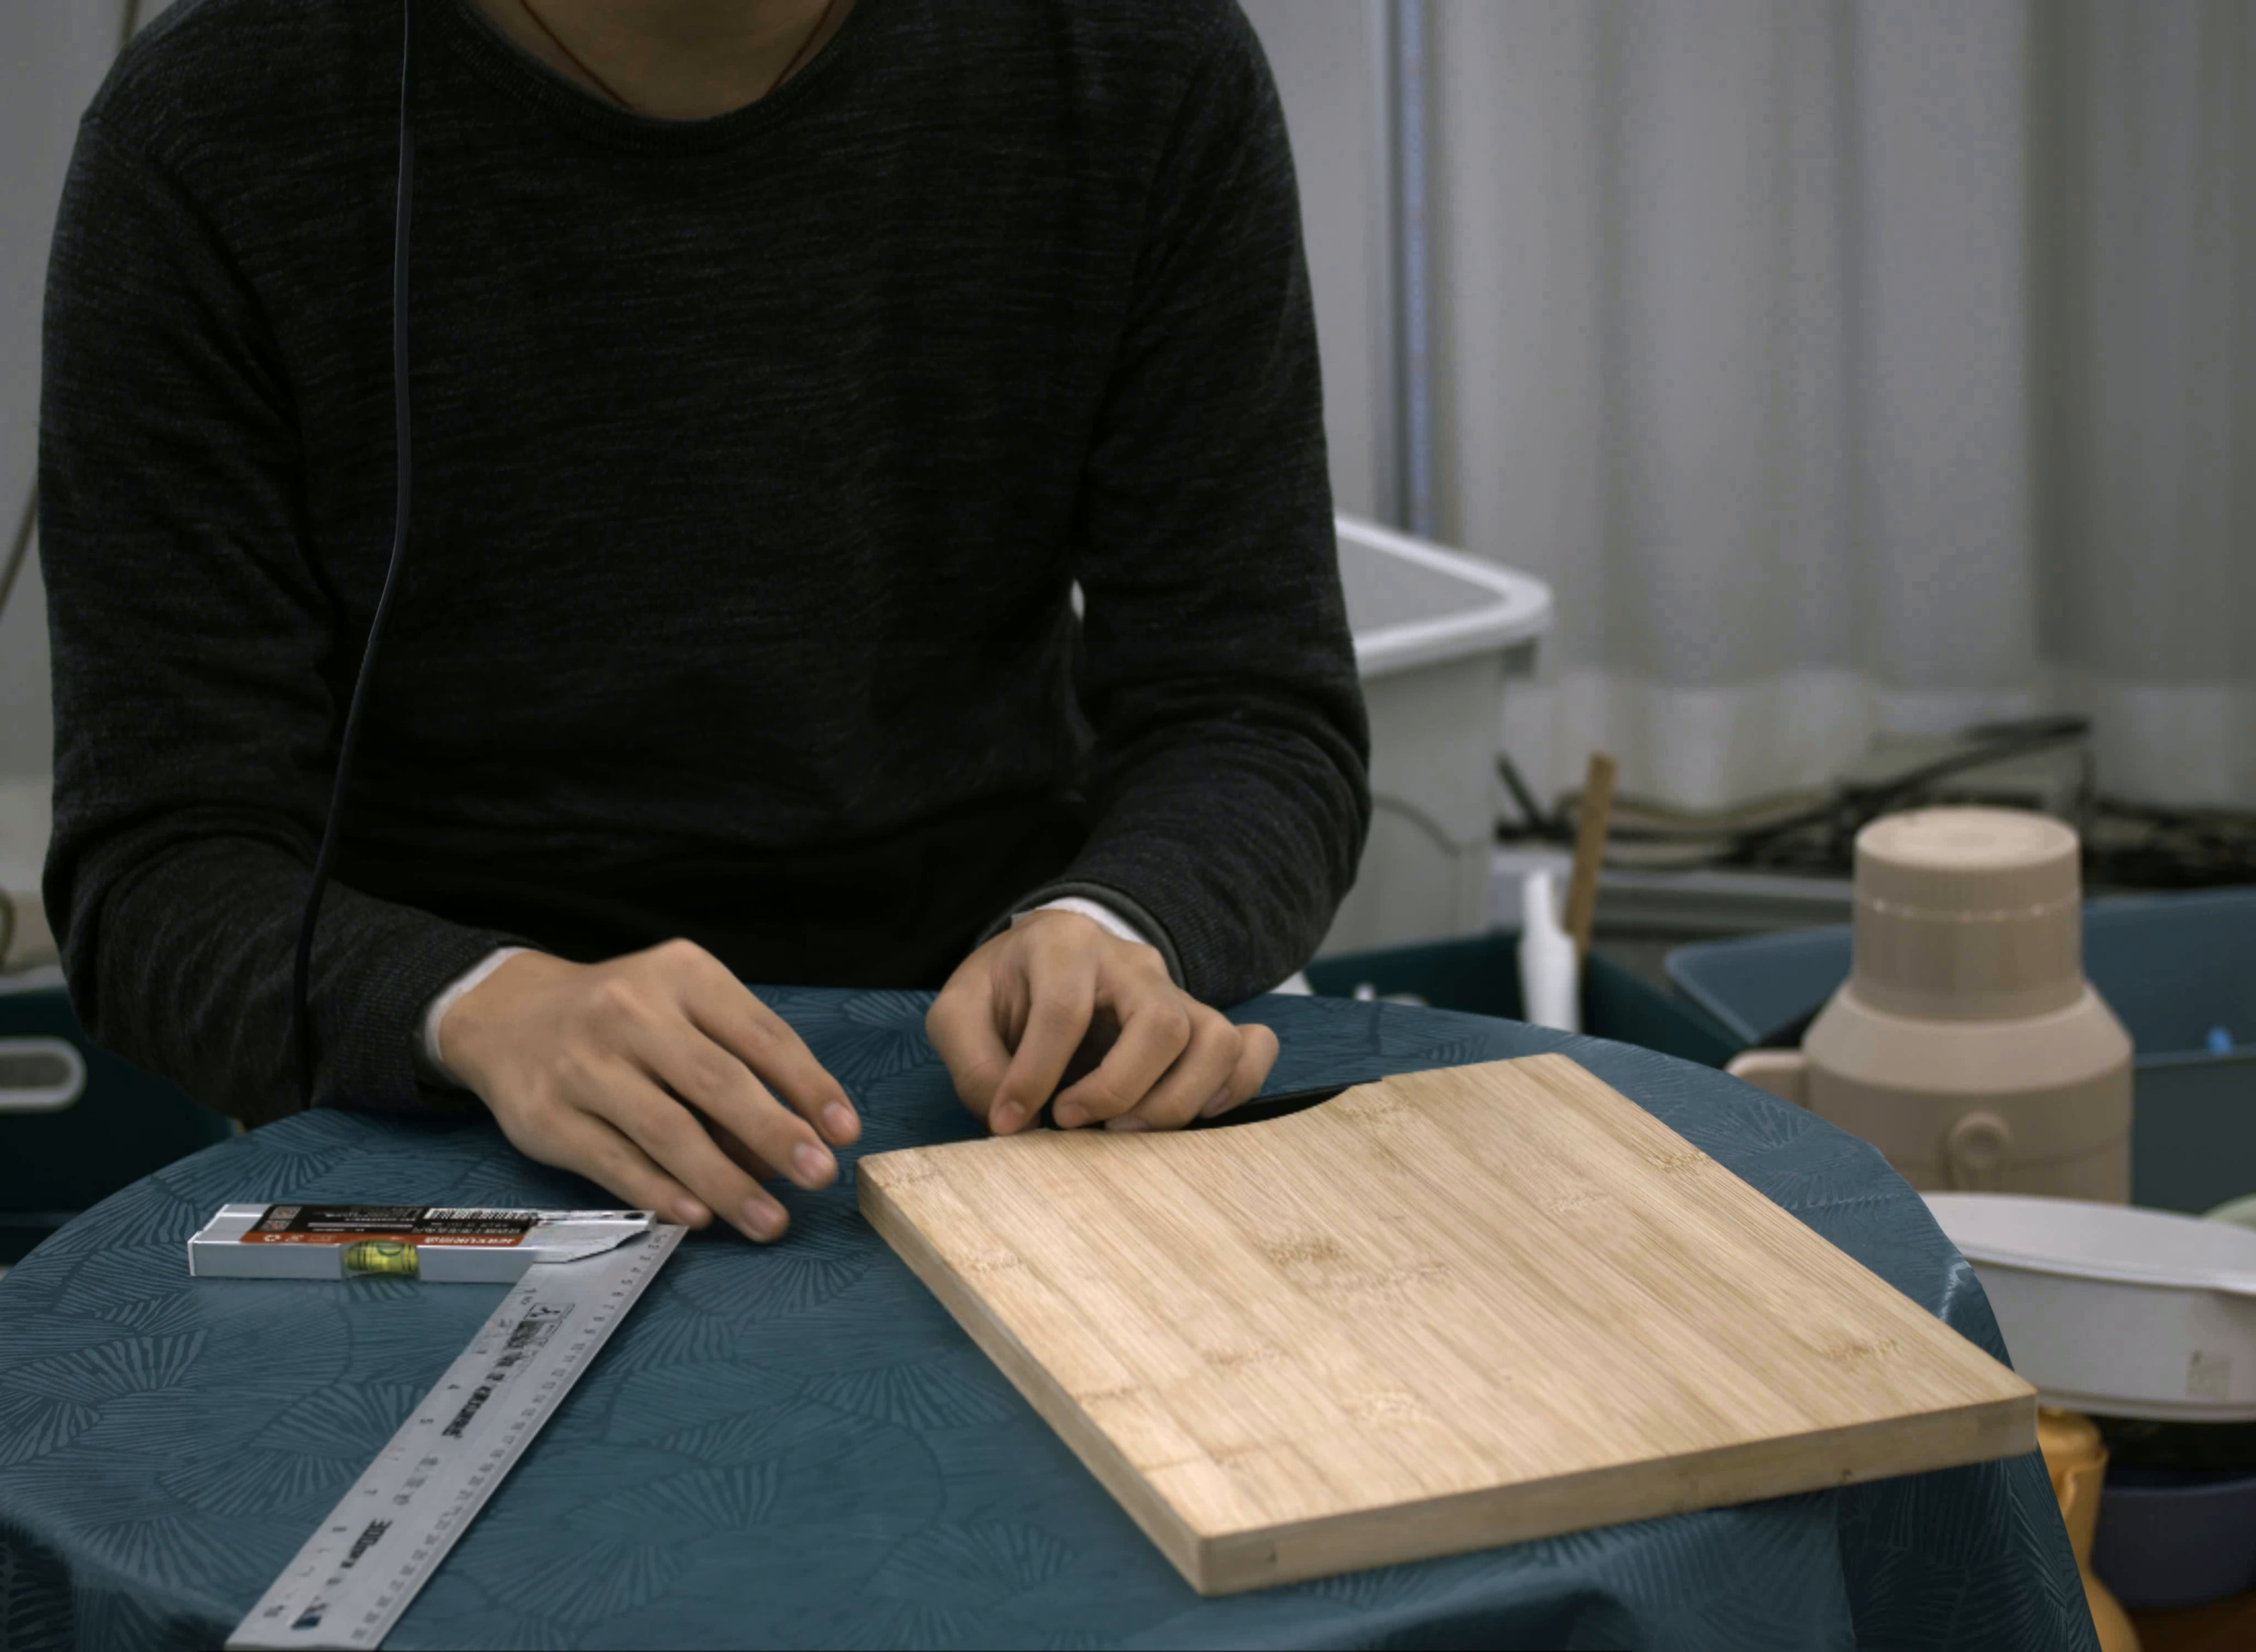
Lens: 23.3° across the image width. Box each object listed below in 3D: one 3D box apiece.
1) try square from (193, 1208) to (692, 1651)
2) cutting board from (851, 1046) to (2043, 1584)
[{"bbox_3d":[-0.235,0.167,1.551,0.152,0.016,0.314,-1,16,12],"label":"try square"},{"bbox_3d":[0.079,0.135,1.590,0.249,0.023,0.351,-8,16,-17],"label":"cutting board"}]
